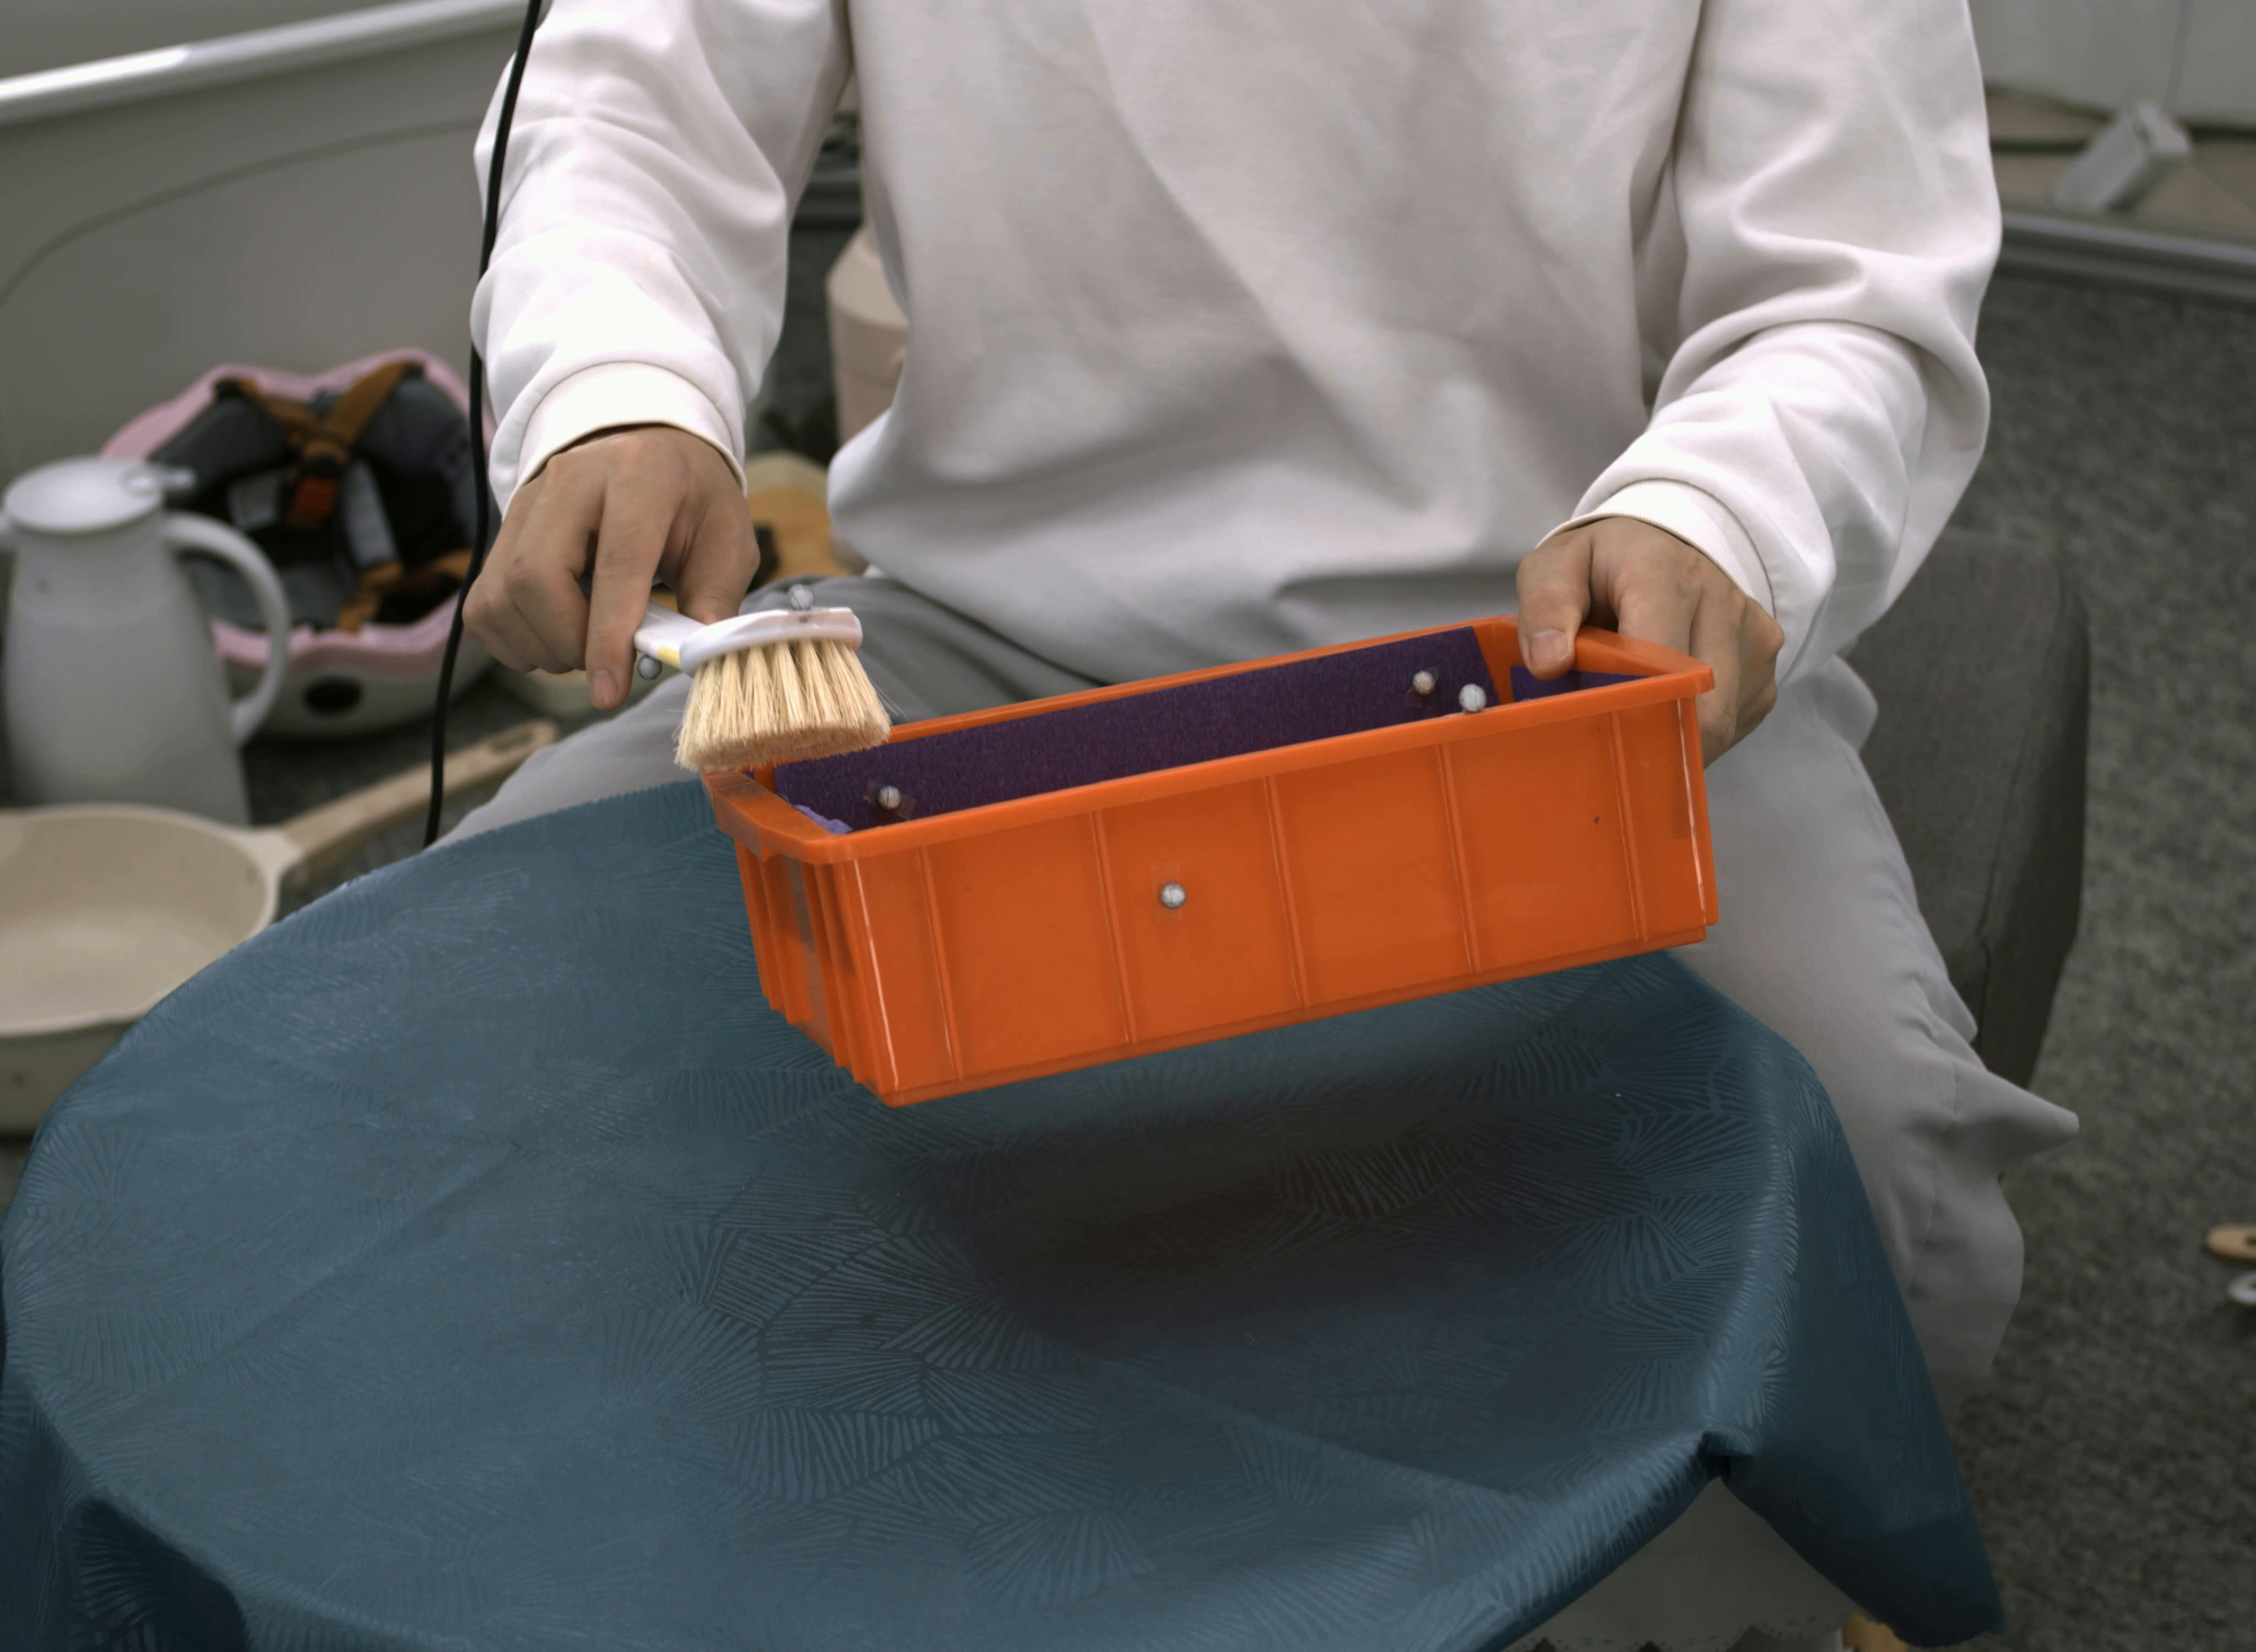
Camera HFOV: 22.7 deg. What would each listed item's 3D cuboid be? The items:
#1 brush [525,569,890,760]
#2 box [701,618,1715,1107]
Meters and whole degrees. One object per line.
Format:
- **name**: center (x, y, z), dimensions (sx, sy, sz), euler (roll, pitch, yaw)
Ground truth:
- **brush**: center (-0.151, -0.052, 1.896), dimensions (0.068, 0.056, 0.265), euler (10, -4, -25)
- **box**: center (0.025, 0.009, 1.822), dimensions (0.304, 0.096, 0.206), euler (-9, 8, -13)
